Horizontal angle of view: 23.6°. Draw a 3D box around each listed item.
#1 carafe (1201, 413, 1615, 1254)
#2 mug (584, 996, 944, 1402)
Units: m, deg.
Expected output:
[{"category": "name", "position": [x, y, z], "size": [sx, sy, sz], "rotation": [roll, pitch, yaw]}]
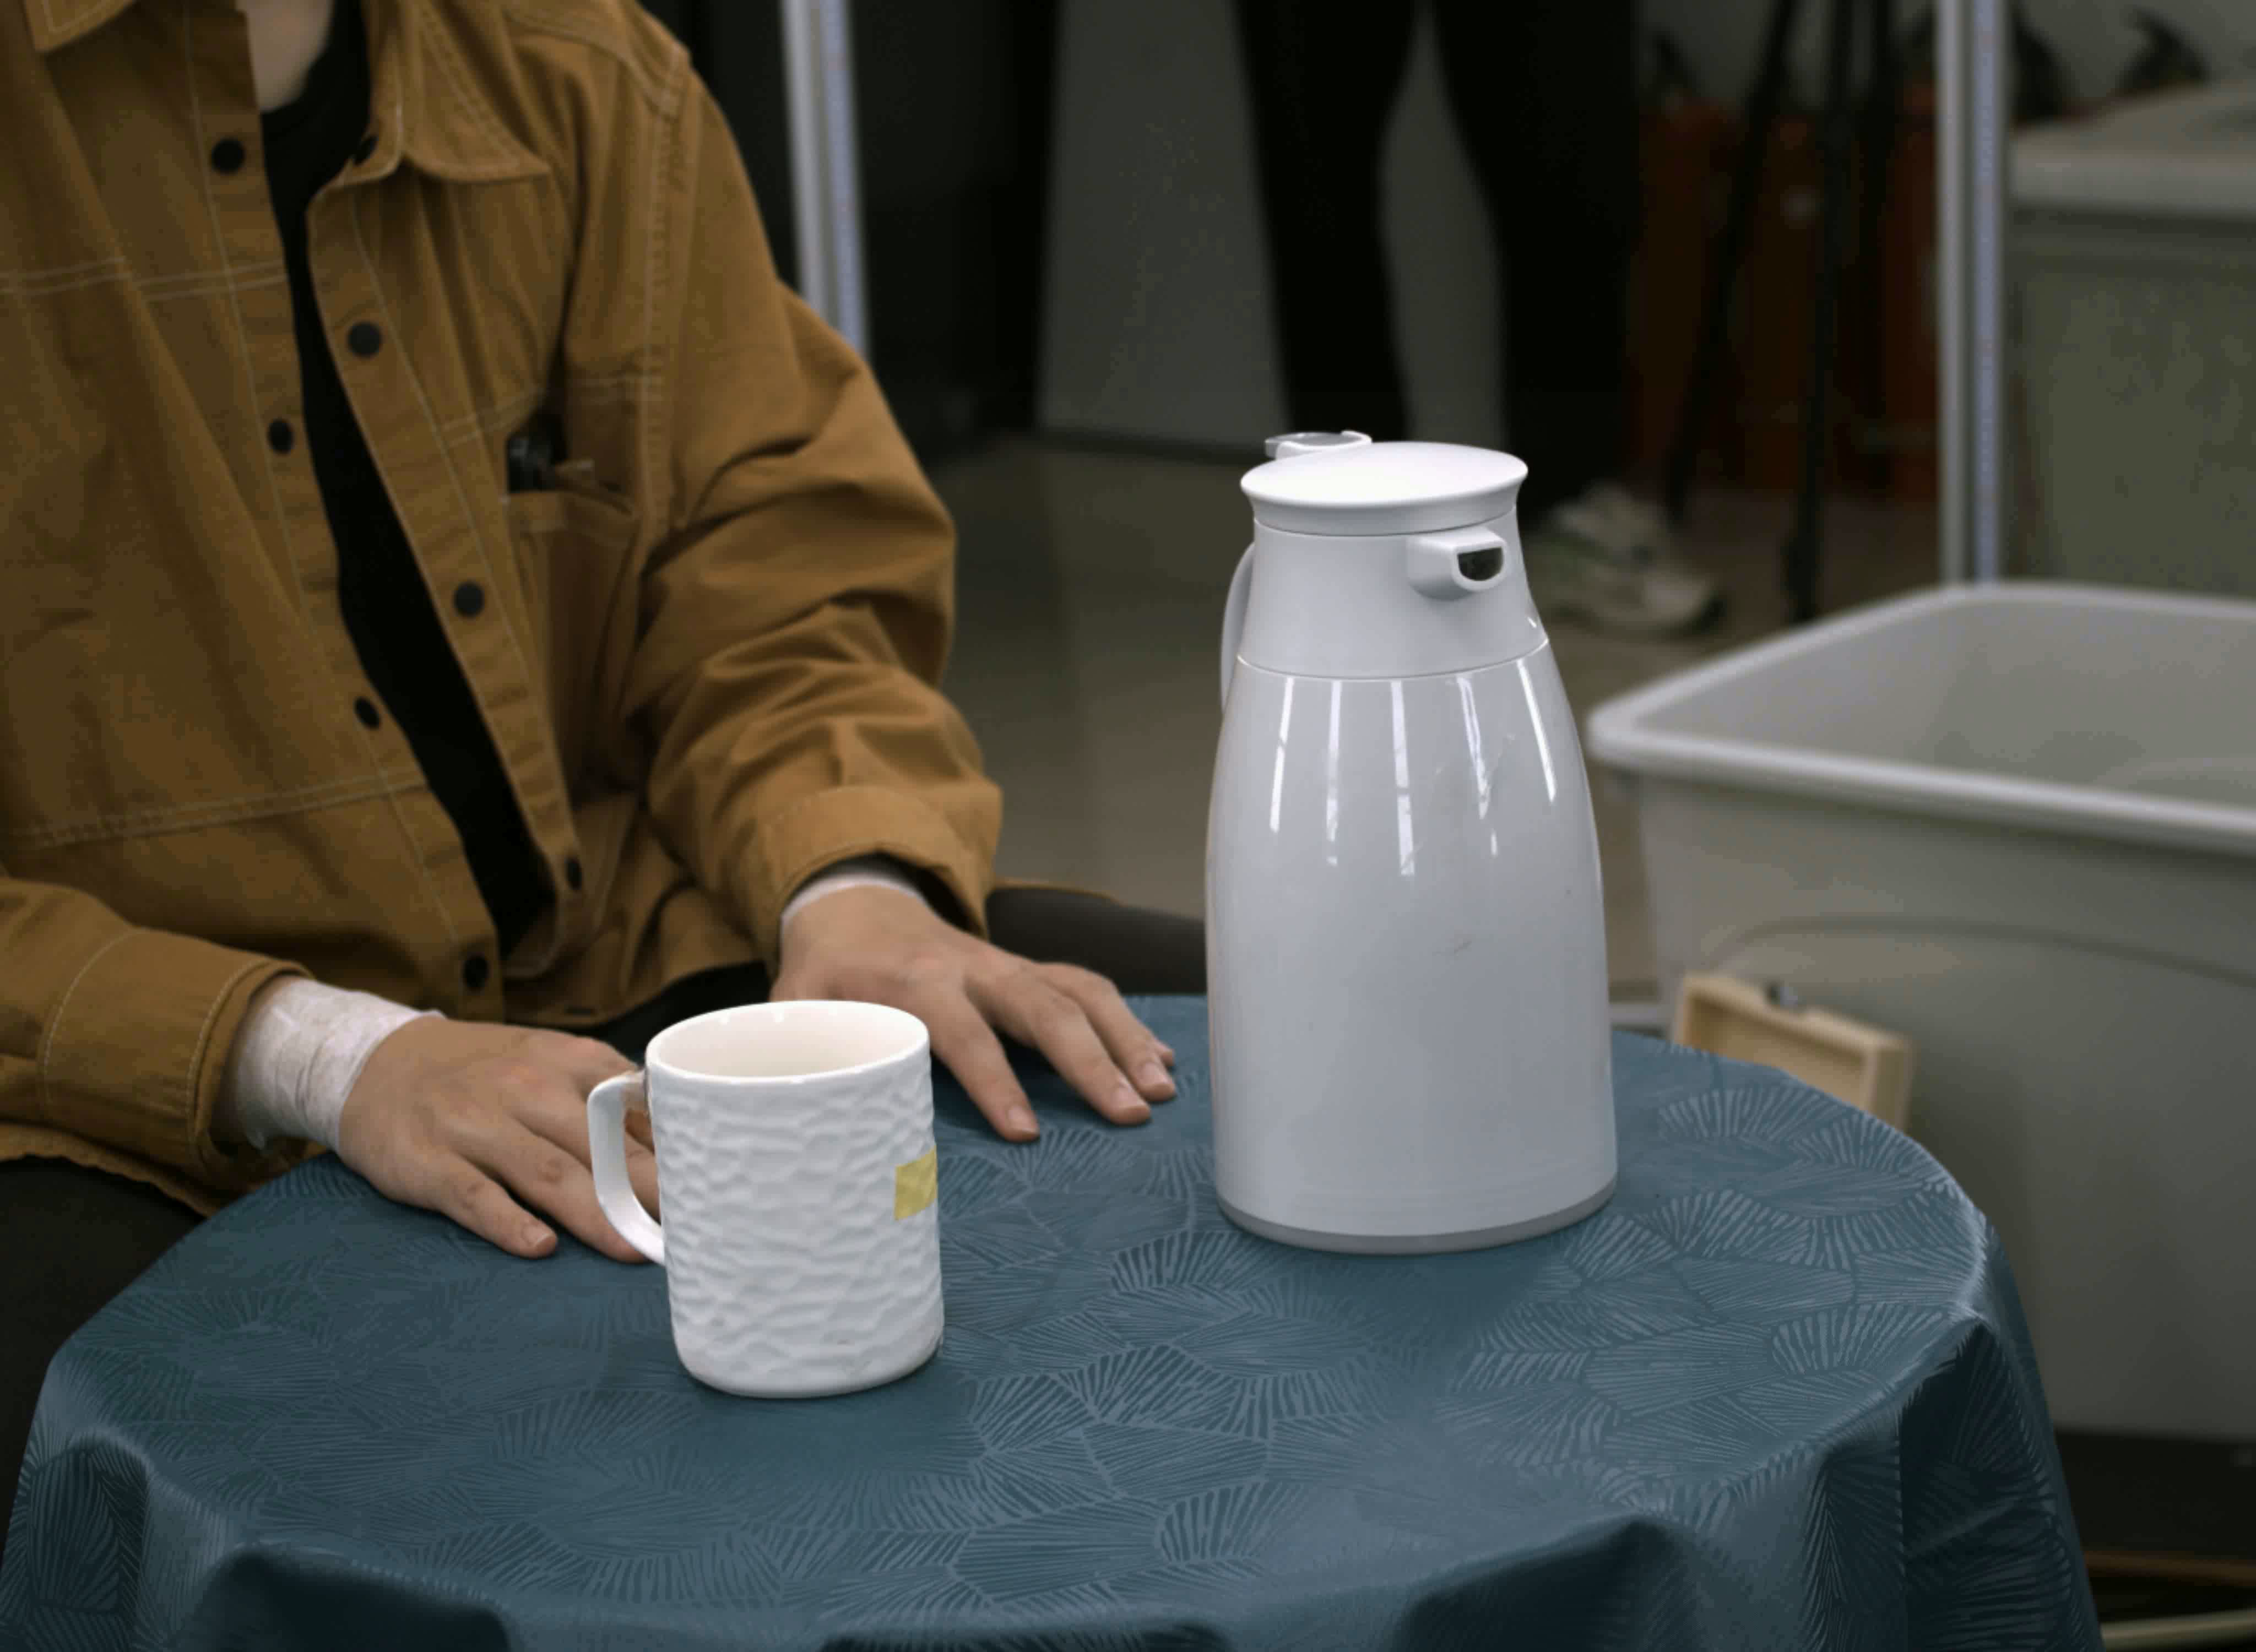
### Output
[{"category": "carafe", "position": [0.076, -0.006, 1.741], "size": [0.129, 0.251, 0.169], "rotation": [-11, 15, -25]}, {"category": "mug", "position": [-0.113, 0.111, 1.635], "size": [0.119, 0.103, 0.083], "rotation": [4, 16, 32]}]
